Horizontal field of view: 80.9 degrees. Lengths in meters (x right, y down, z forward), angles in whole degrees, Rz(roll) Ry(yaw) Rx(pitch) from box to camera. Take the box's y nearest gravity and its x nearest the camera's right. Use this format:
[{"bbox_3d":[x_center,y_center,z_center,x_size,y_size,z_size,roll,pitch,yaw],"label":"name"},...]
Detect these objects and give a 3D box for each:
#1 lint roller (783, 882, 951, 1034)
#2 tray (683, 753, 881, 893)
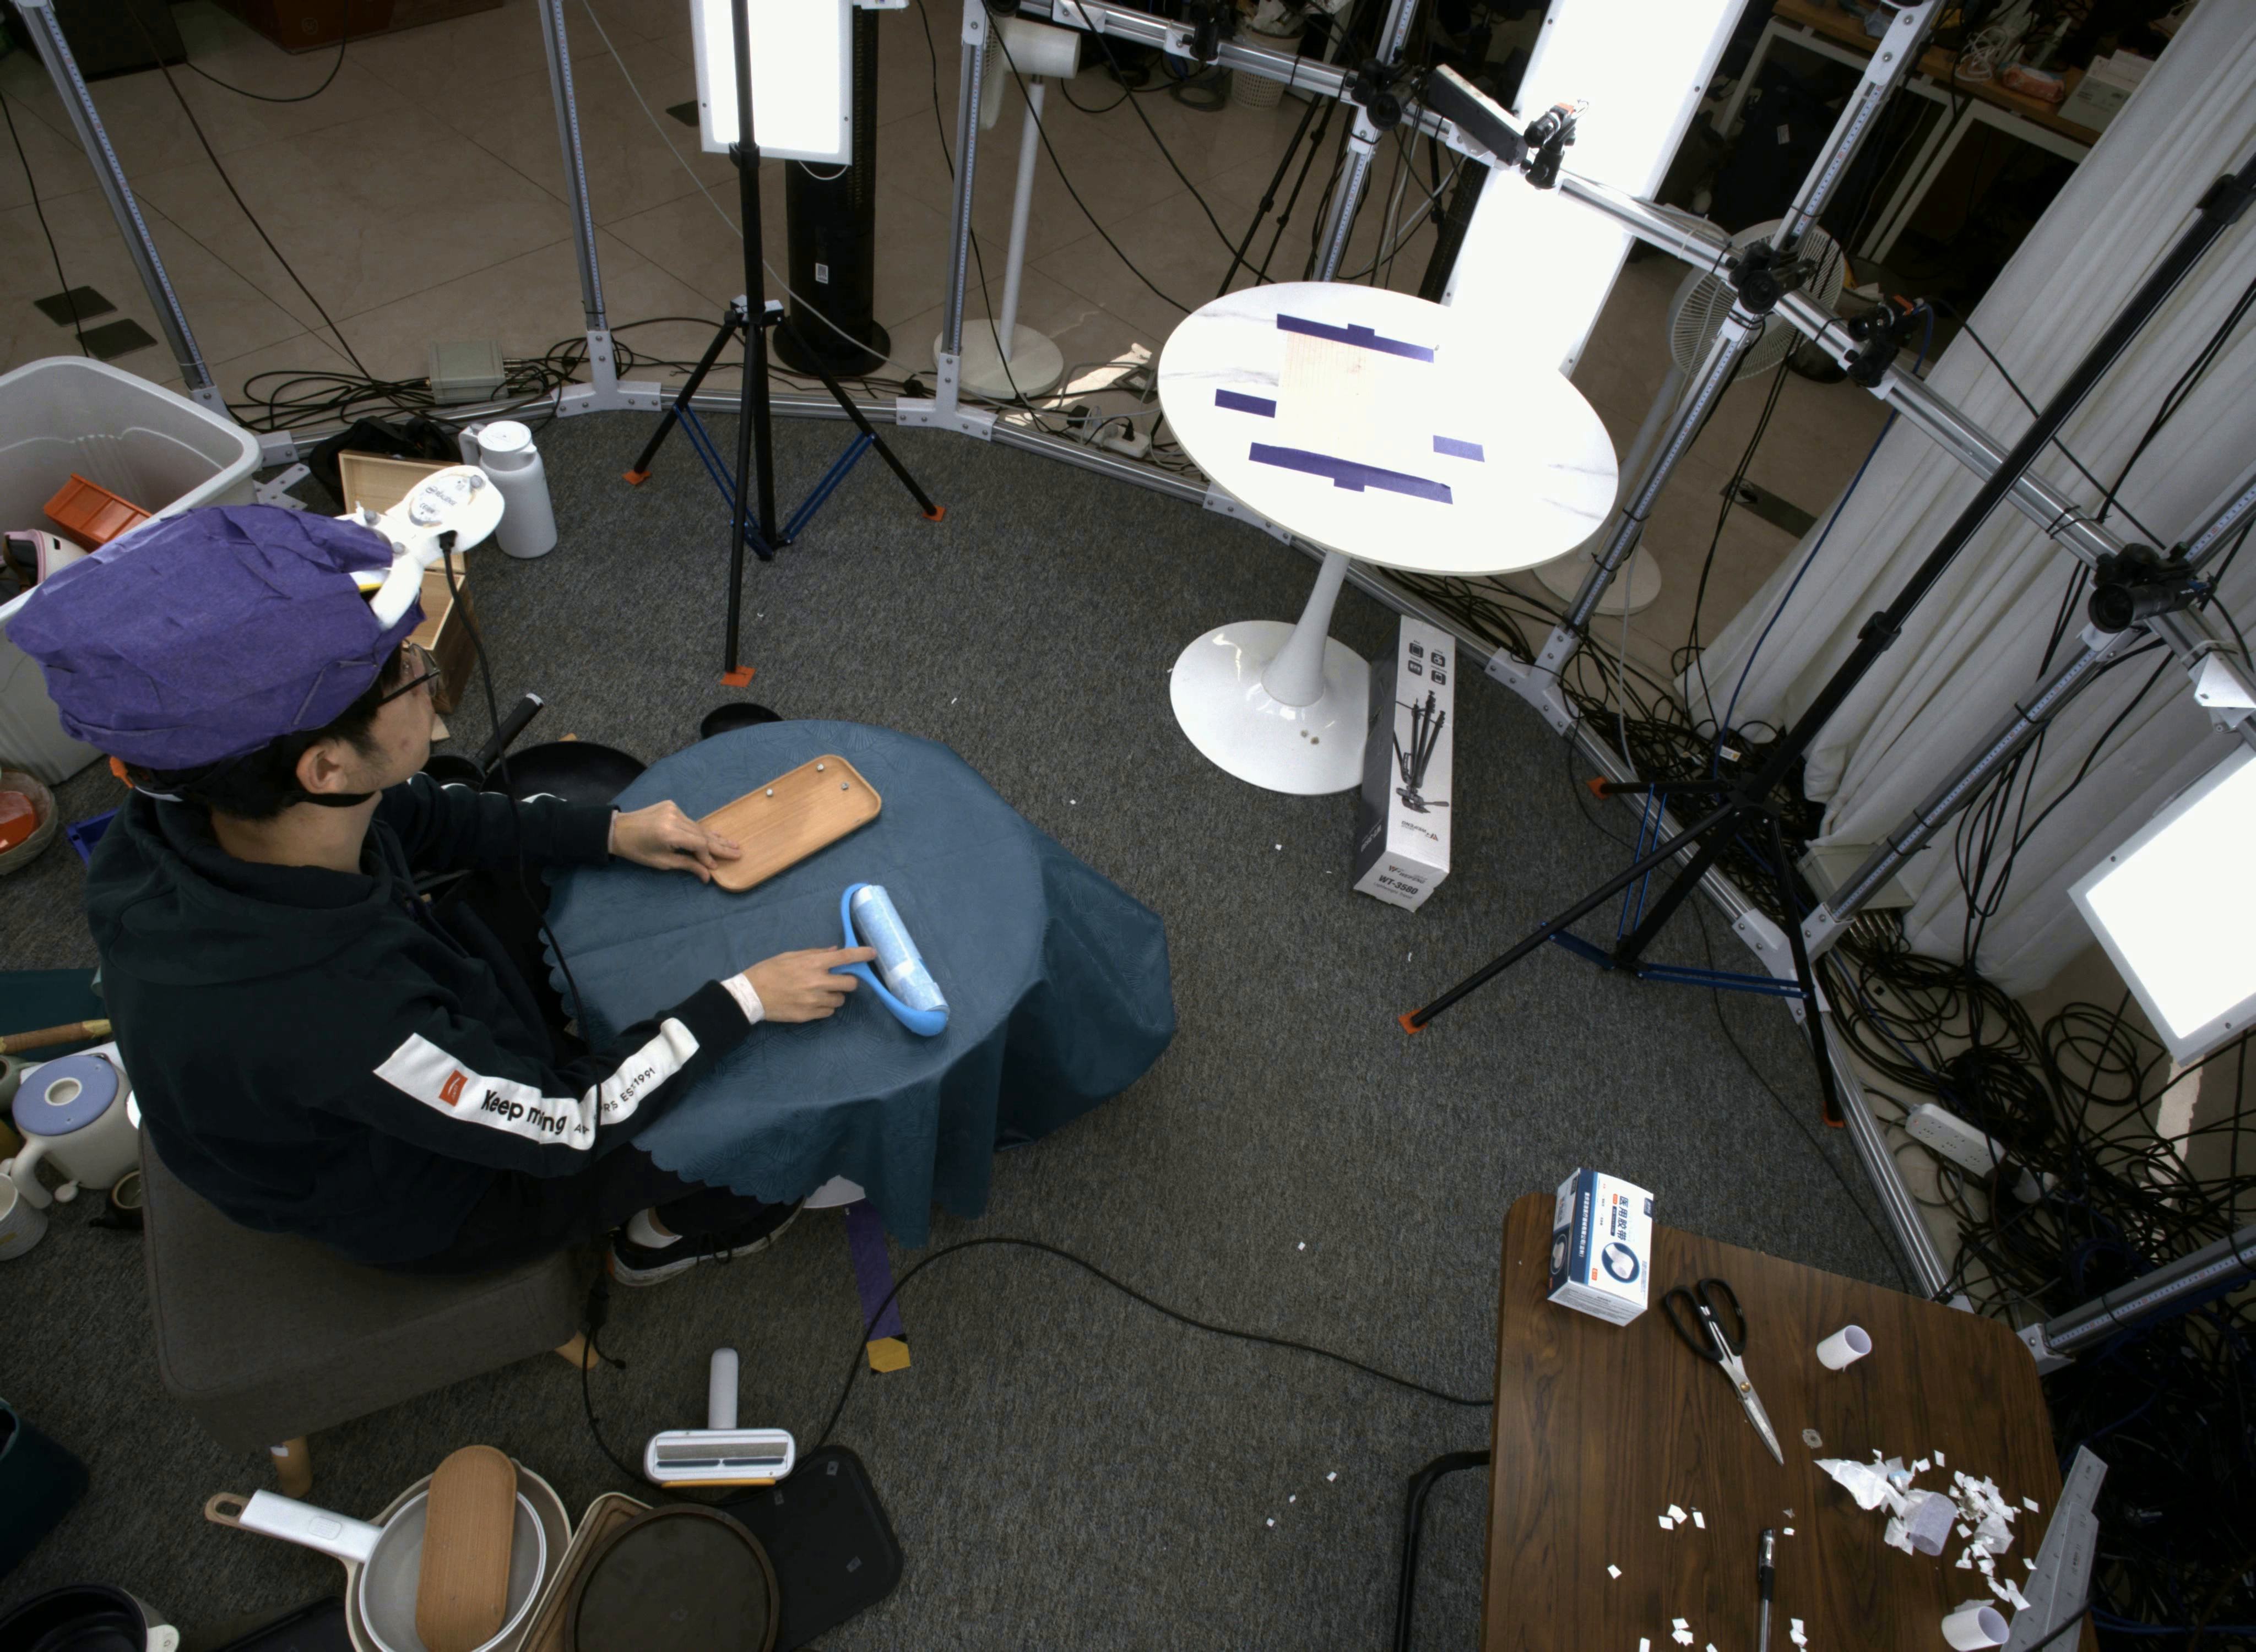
[{"bbox_3d":[-0.334,0.179,1.585,0.181,0.069,0.224,-22,64,-29],"label":"lint roller"},{"bbox_3d":[-0.455,-0.007,1.715,0.251,0.023,0.127,-33,65,-32],"label":"tray"}]
